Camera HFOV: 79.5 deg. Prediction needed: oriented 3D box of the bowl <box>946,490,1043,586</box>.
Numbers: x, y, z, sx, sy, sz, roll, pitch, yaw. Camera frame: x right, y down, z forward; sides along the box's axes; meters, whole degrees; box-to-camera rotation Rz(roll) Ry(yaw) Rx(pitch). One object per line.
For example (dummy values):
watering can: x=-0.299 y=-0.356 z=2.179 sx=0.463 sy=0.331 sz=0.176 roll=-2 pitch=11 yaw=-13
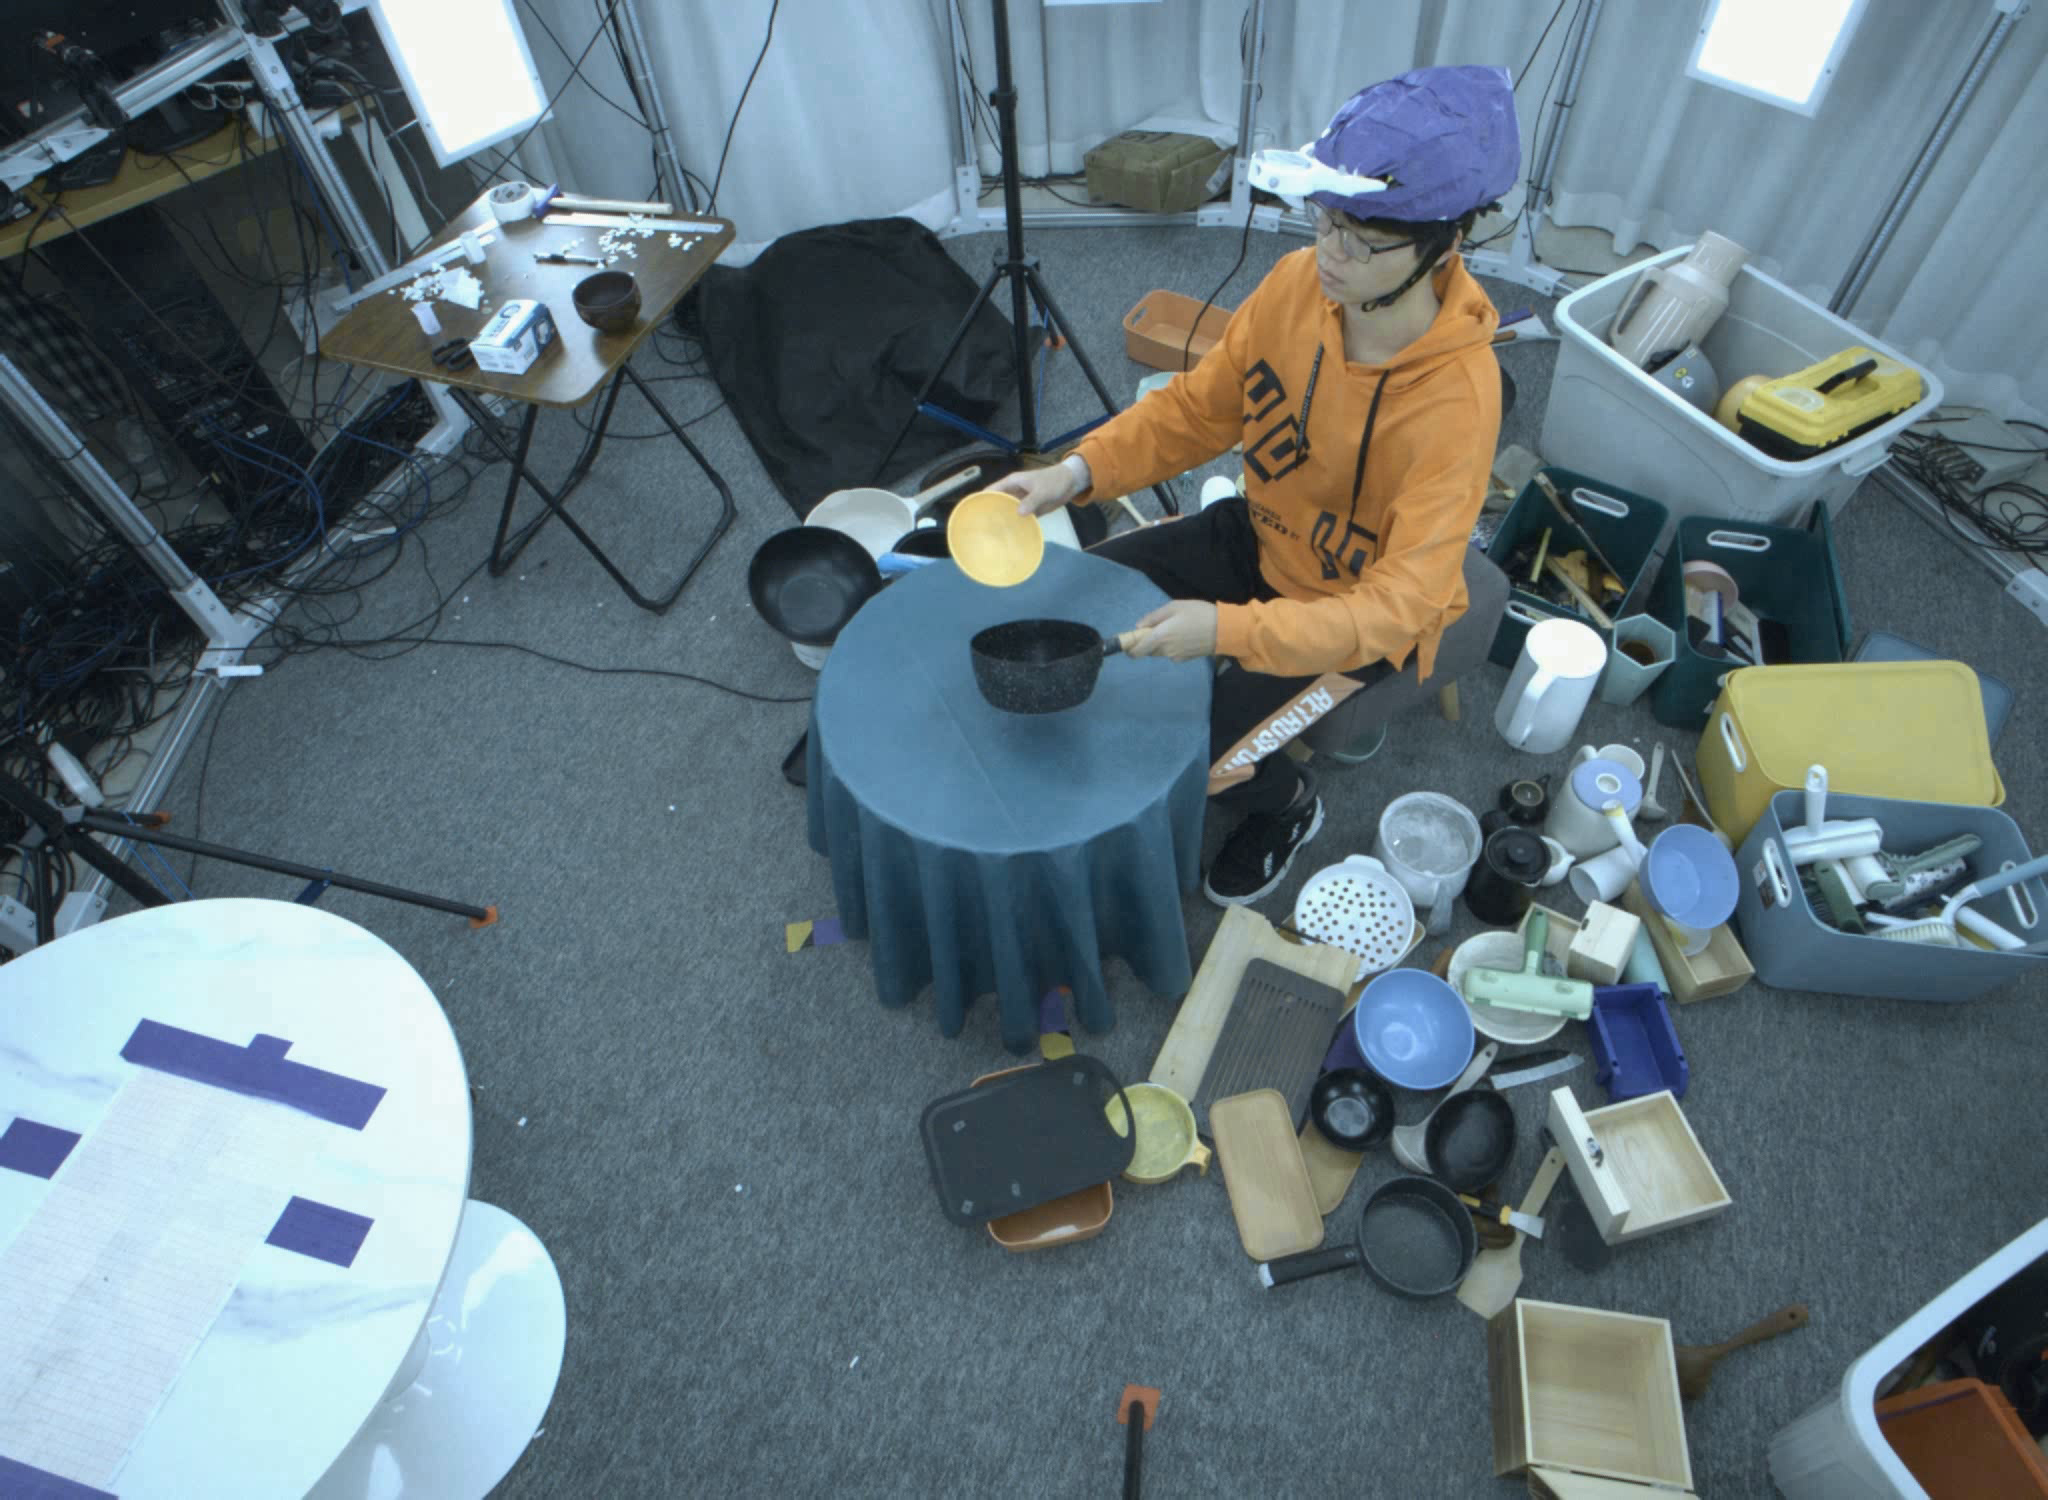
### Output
bowl: x=-0.050 y=-0.297 z=1.765 sx=0.147 sy=0.059 sz=0.144 roll=5 pitch=76 yaw=-19

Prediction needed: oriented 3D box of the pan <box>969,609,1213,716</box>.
pan: x=0.096 y=-0.132 z=1.727 sx=0.344 sy=0.109 sz=0.204 roll=-6 pitch=25 yaw=-6
